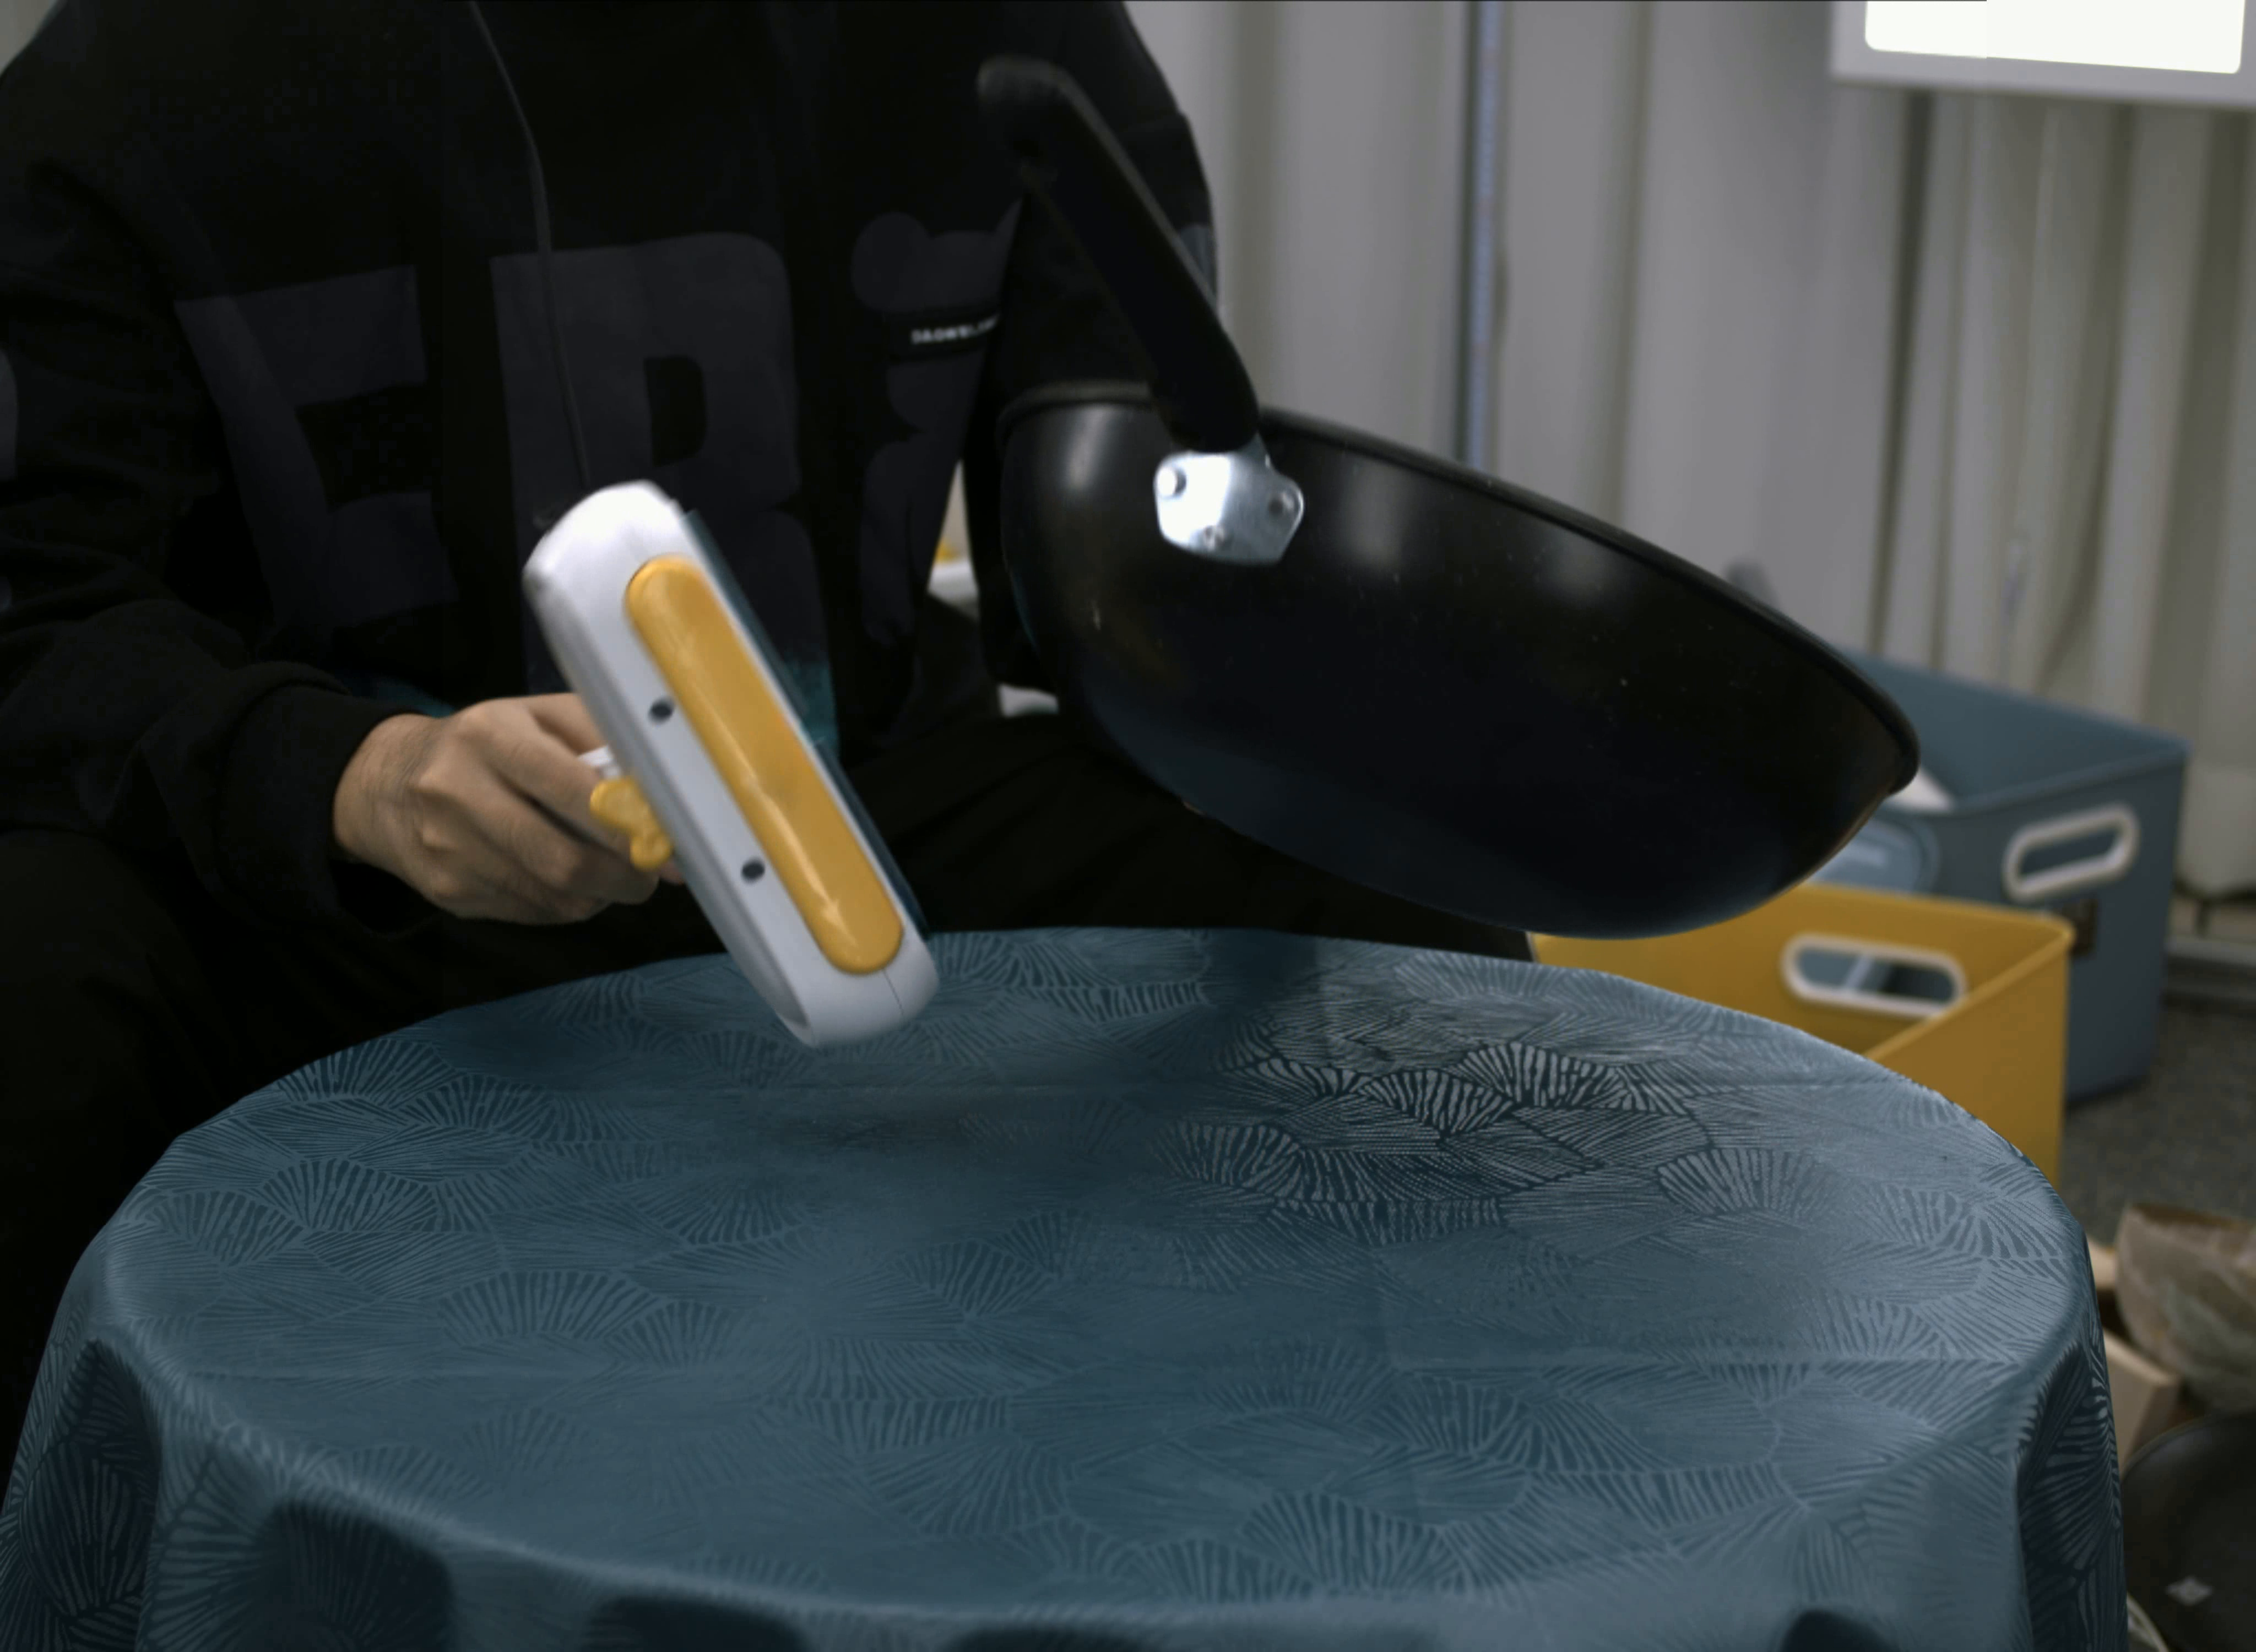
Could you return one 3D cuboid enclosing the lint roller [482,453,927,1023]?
[{"bbox_3d":[-0.154,-0.015,1.694,0.074,0.194,0.191,-37,8,-23],"label":"lint roller"}]

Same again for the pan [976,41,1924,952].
[{"bbox_3d":[0.057,-0.073,1.584,0.306,0.111,0.483,14,-14,31],"label":"pan"}]
